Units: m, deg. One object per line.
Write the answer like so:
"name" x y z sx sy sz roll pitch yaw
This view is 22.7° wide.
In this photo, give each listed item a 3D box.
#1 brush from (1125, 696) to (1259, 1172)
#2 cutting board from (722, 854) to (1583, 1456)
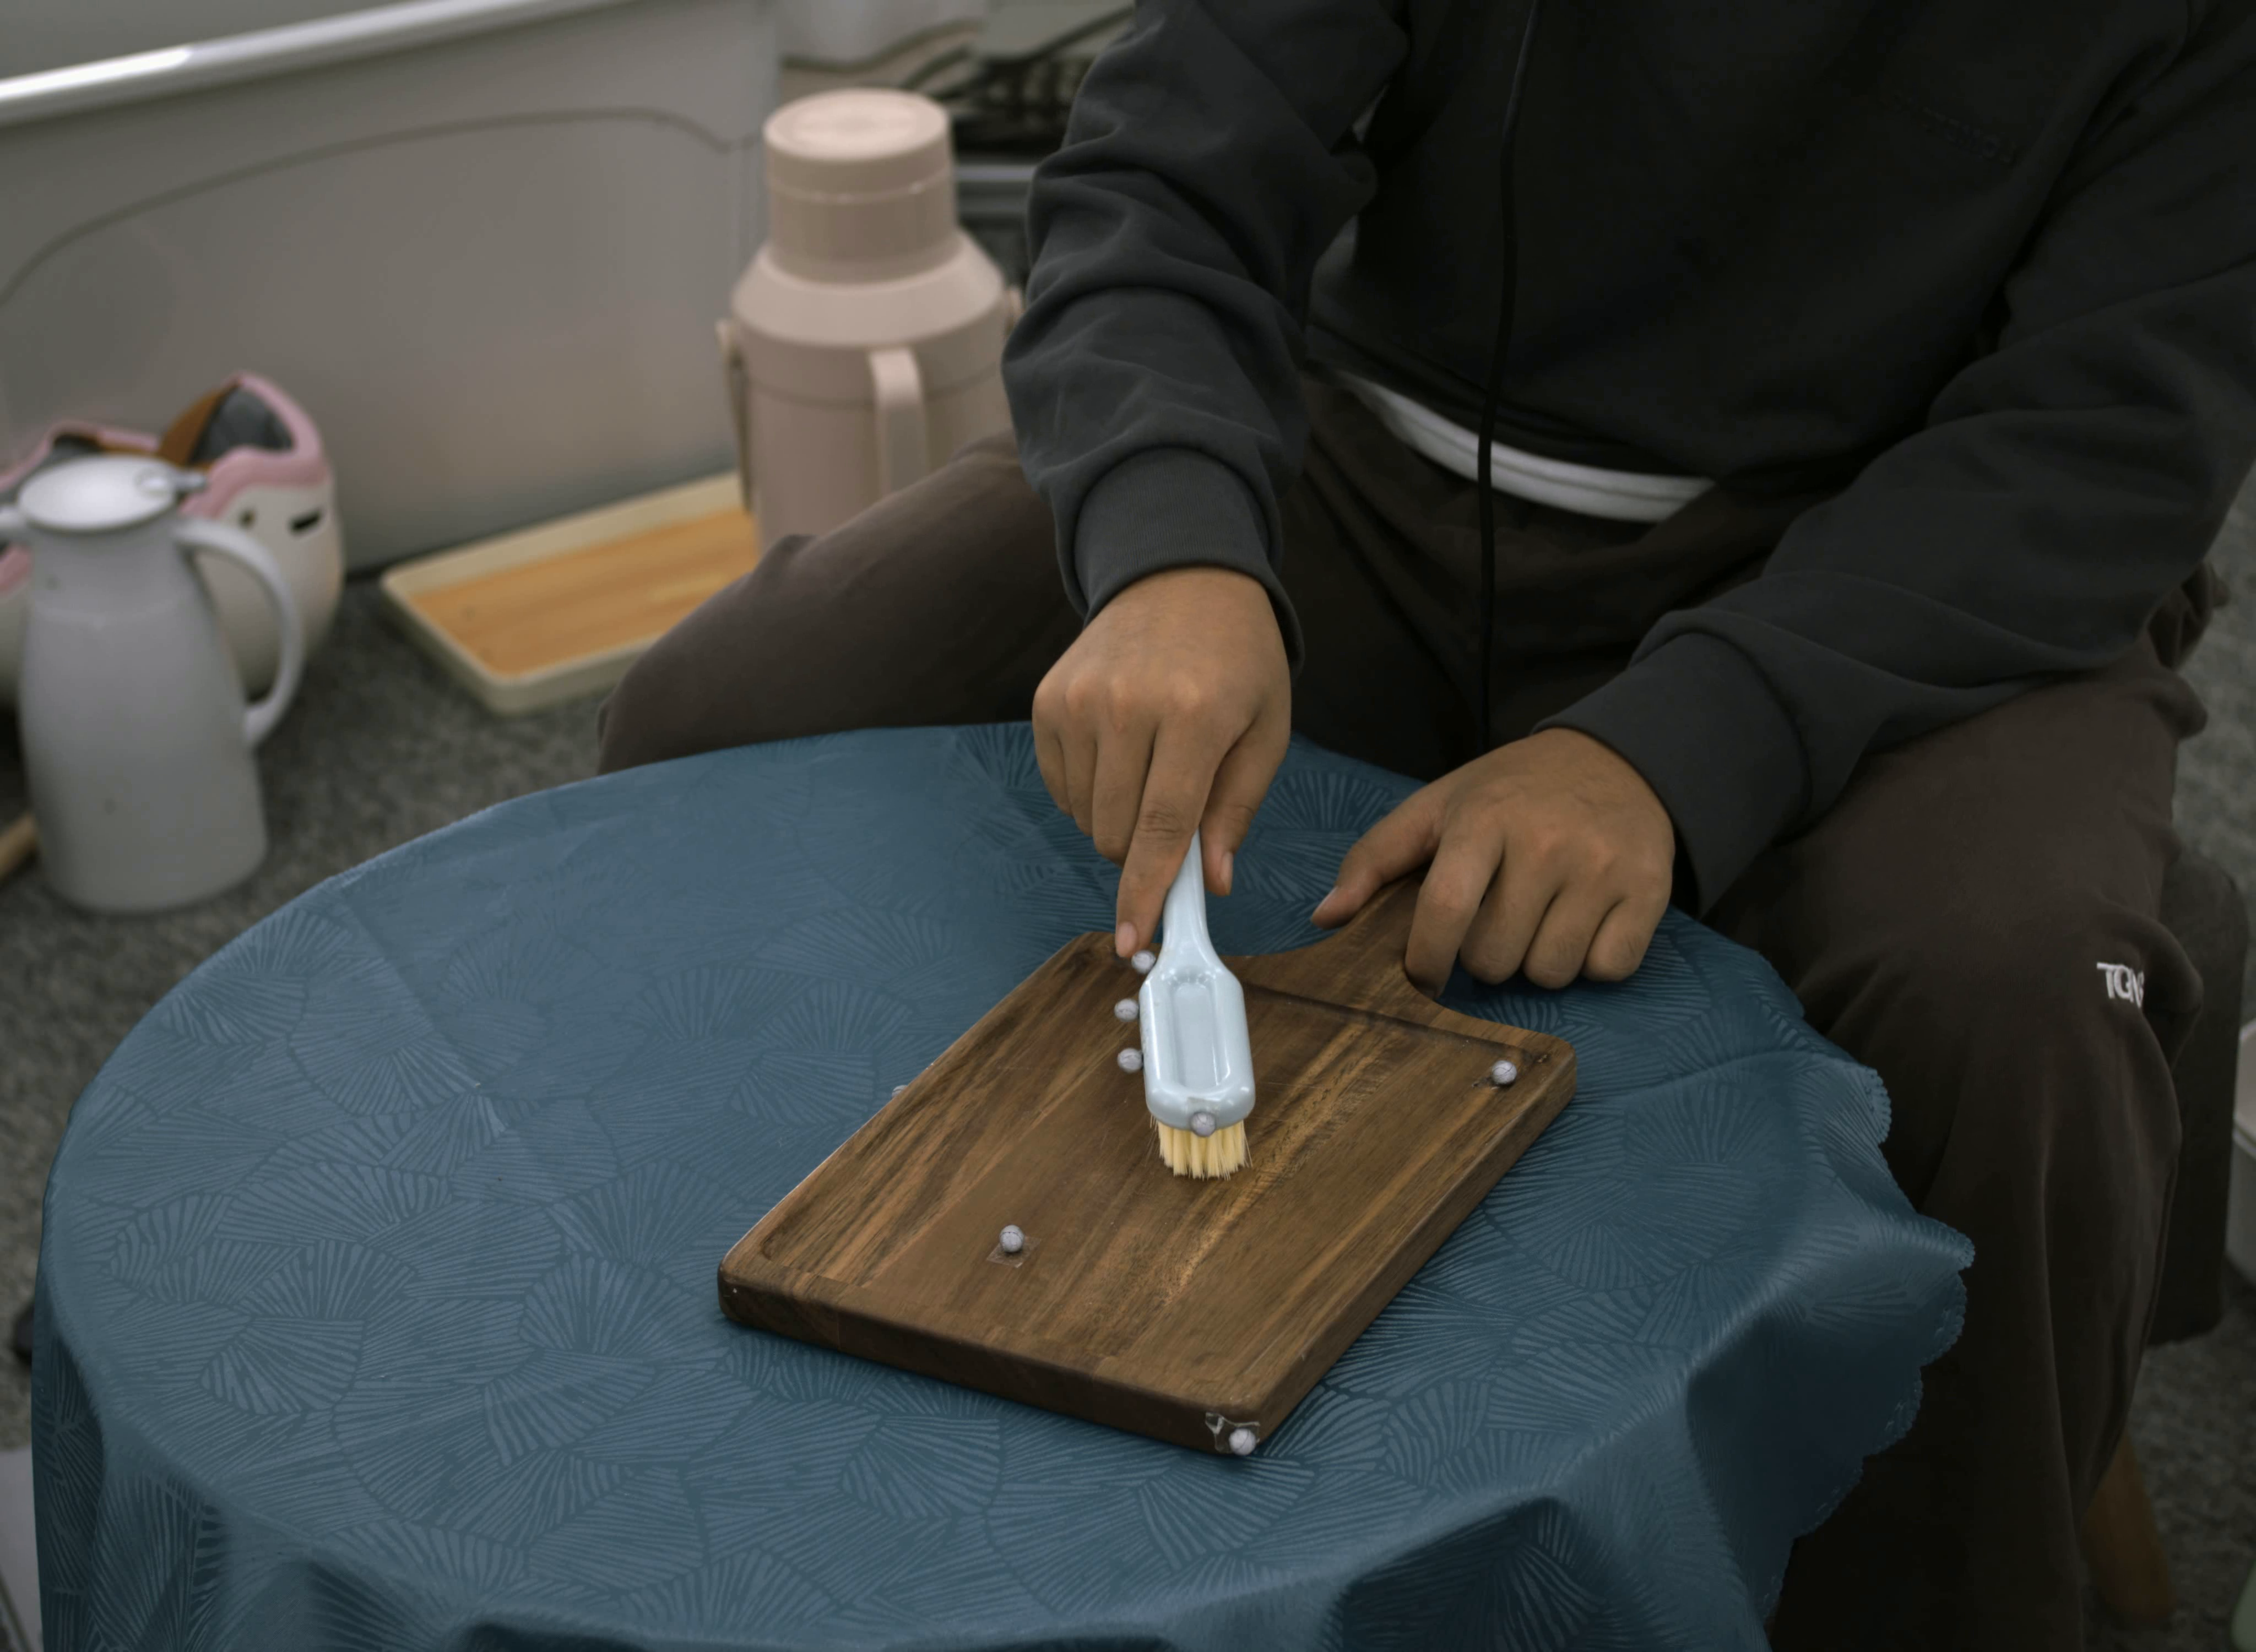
"brush" 0.017 0.033 1.924 0.037 0.049 0.233 -5 41 -3
"cutting board" 0.036 0.094 1.892 0.200 0.023 0.358 12 31 26
